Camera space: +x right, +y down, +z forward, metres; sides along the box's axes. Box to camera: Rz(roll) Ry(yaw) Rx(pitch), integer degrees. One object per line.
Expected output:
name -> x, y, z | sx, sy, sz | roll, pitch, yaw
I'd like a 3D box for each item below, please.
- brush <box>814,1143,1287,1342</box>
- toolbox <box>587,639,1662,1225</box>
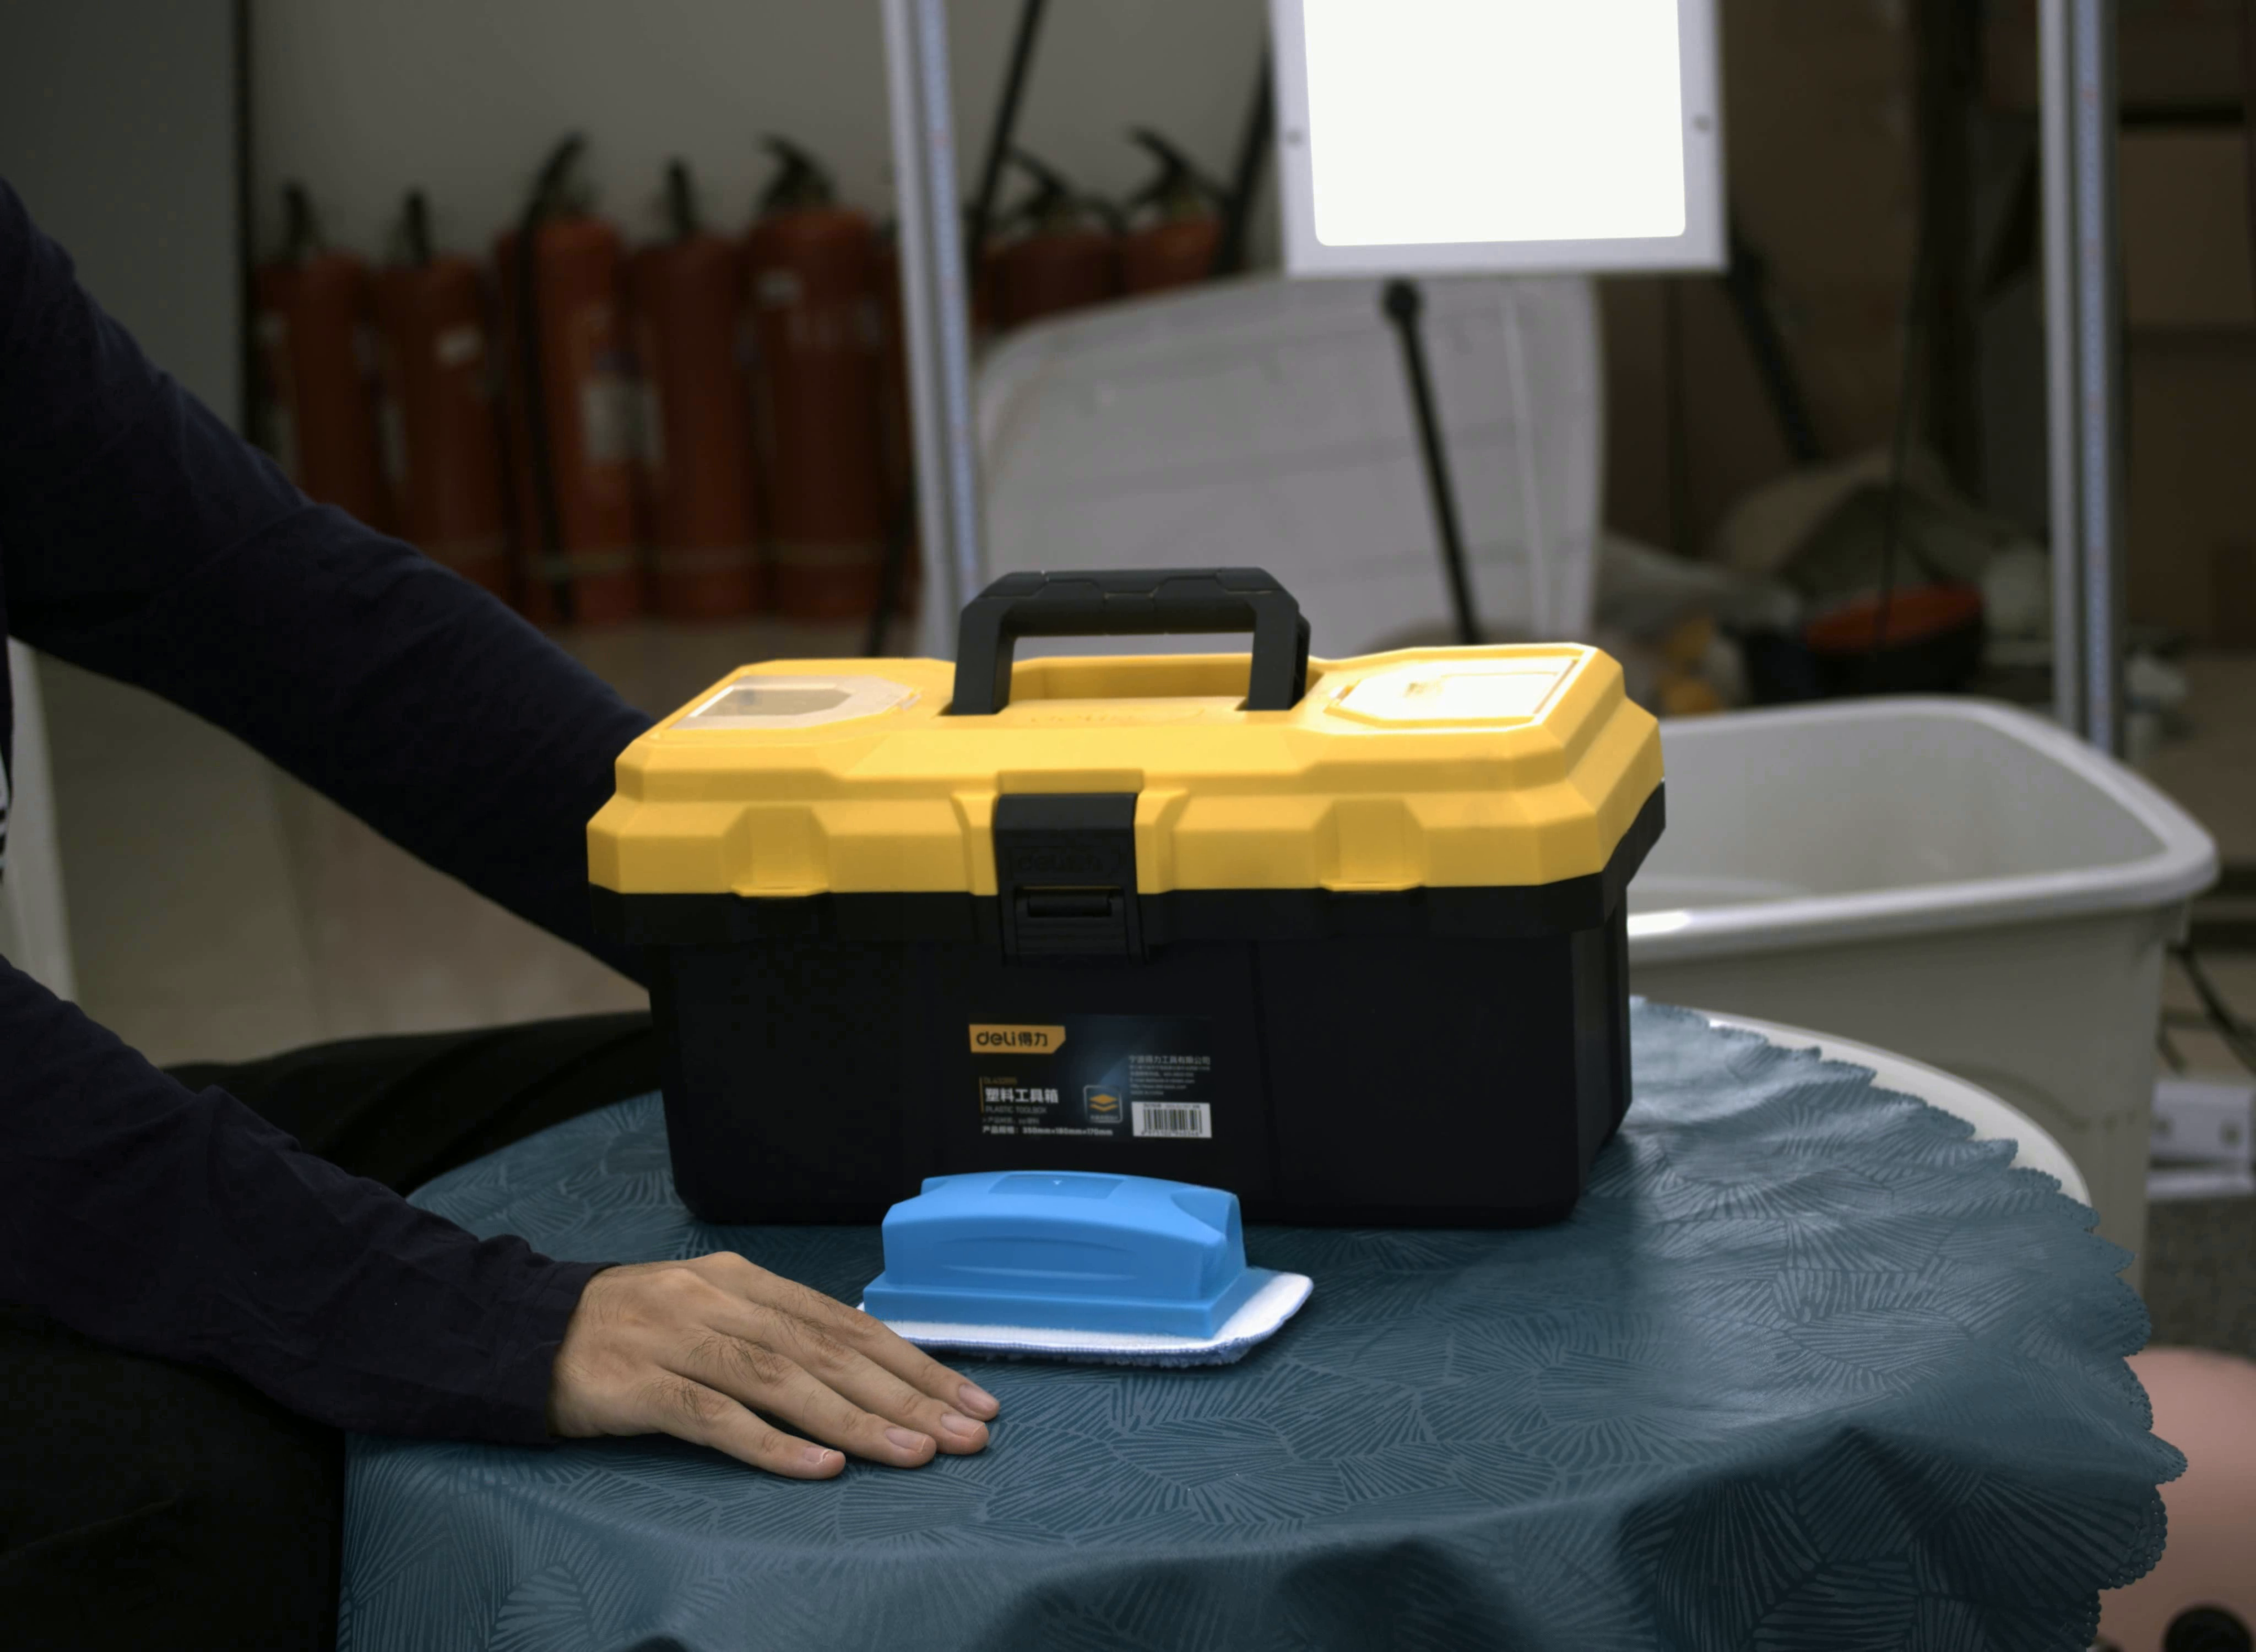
brush -> -0.024, 0.132, 1.757 | 0.146, 0.056, 0.082 | 4, 13, 26
toolbox -> 0.003, 0.037, 1.896 | 0.355, 0.173, 0.178 | -1, 14, 17
